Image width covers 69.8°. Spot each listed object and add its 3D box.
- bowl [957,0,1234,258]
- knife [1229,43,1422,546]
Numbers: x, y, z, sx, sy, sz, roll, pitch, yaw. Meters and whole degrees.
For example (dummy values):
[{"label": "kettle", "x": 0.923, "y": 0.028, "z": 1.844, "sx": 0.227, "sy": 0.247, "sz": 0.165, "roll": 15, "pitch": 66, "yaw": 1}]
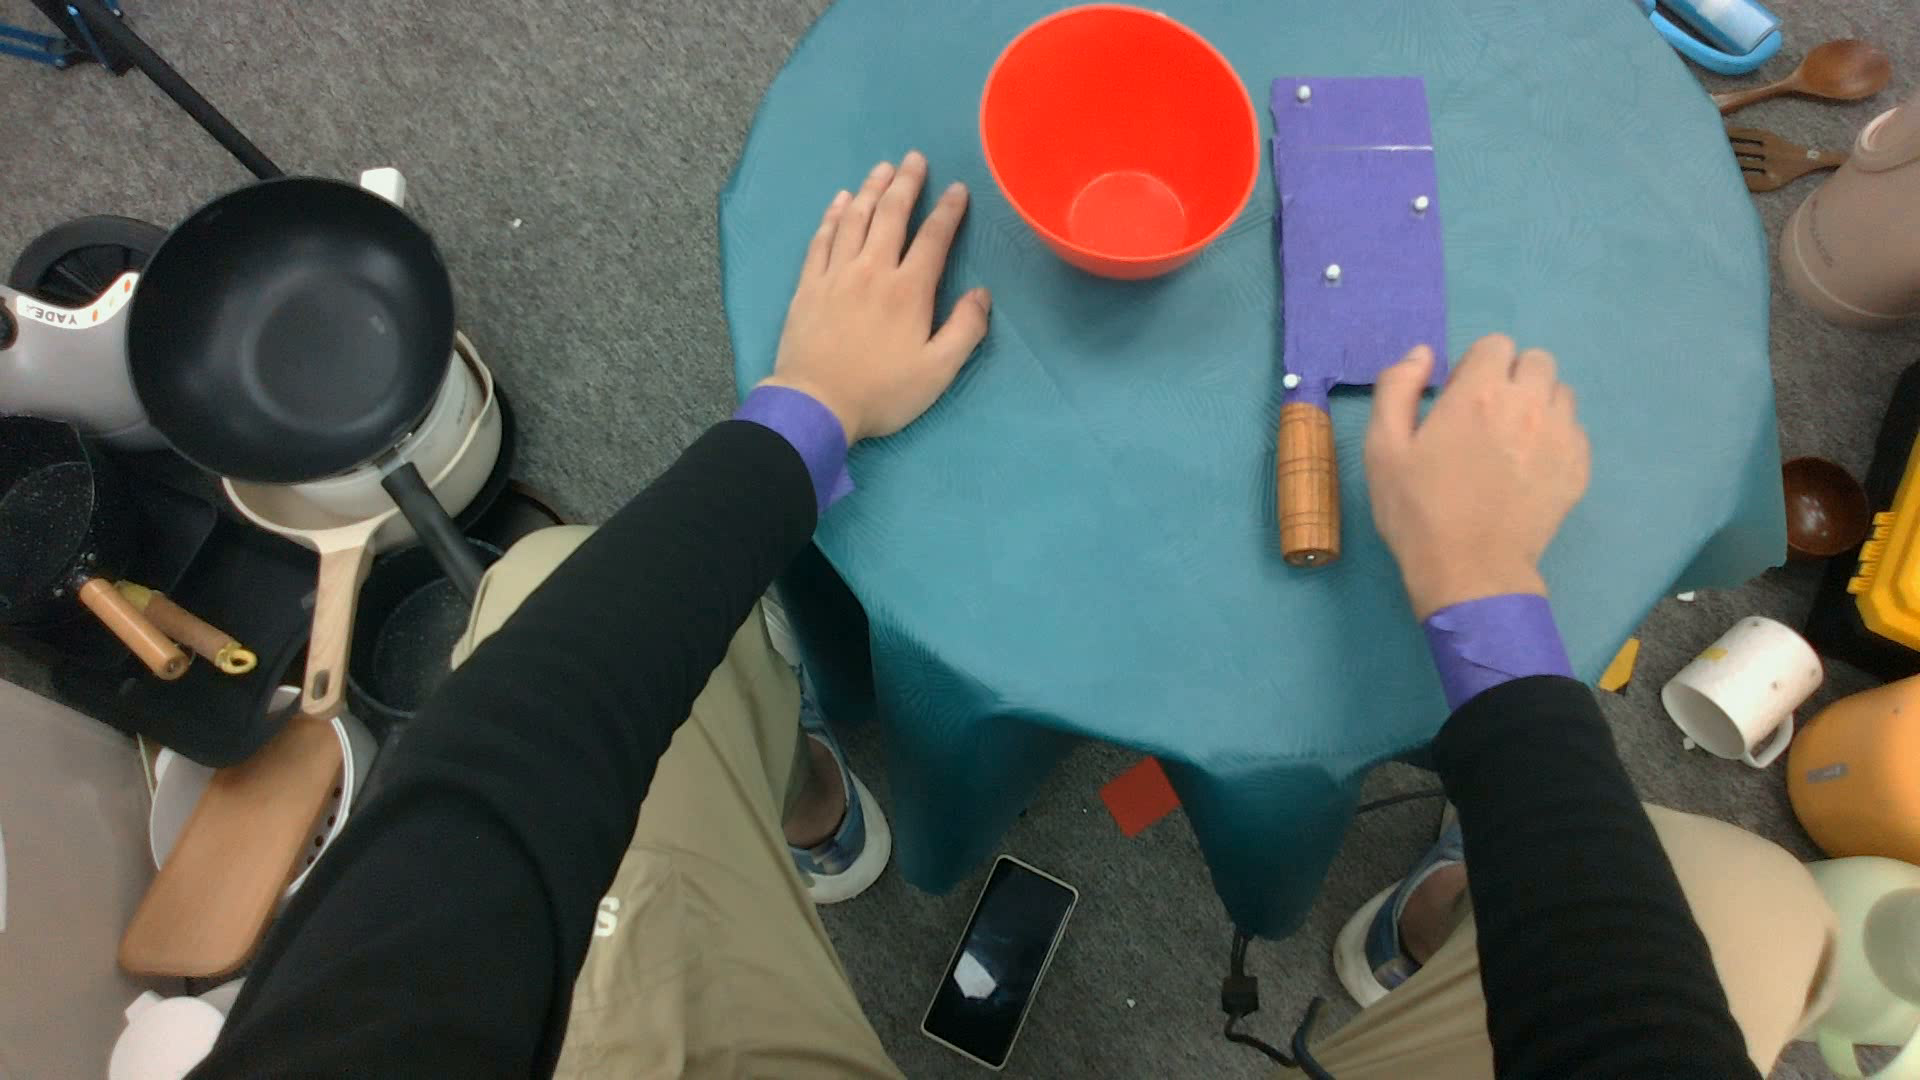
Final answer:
[{"label": "bowl", "x": 0.072, "y": -0.214, "z": 0.759, "sx": 0.148, "sy": 0.104, "sz": 0.148, "roll": 0, "pitch": 72, "yaw": 0}, {"label": "knife", "x": 0.211, "y": -0.149, "z": 0.775, "sx": 0.104, "sy": 0.032, "sz": 0.316, "roll": 1, "pitch": 72, "yaw": 2}]
